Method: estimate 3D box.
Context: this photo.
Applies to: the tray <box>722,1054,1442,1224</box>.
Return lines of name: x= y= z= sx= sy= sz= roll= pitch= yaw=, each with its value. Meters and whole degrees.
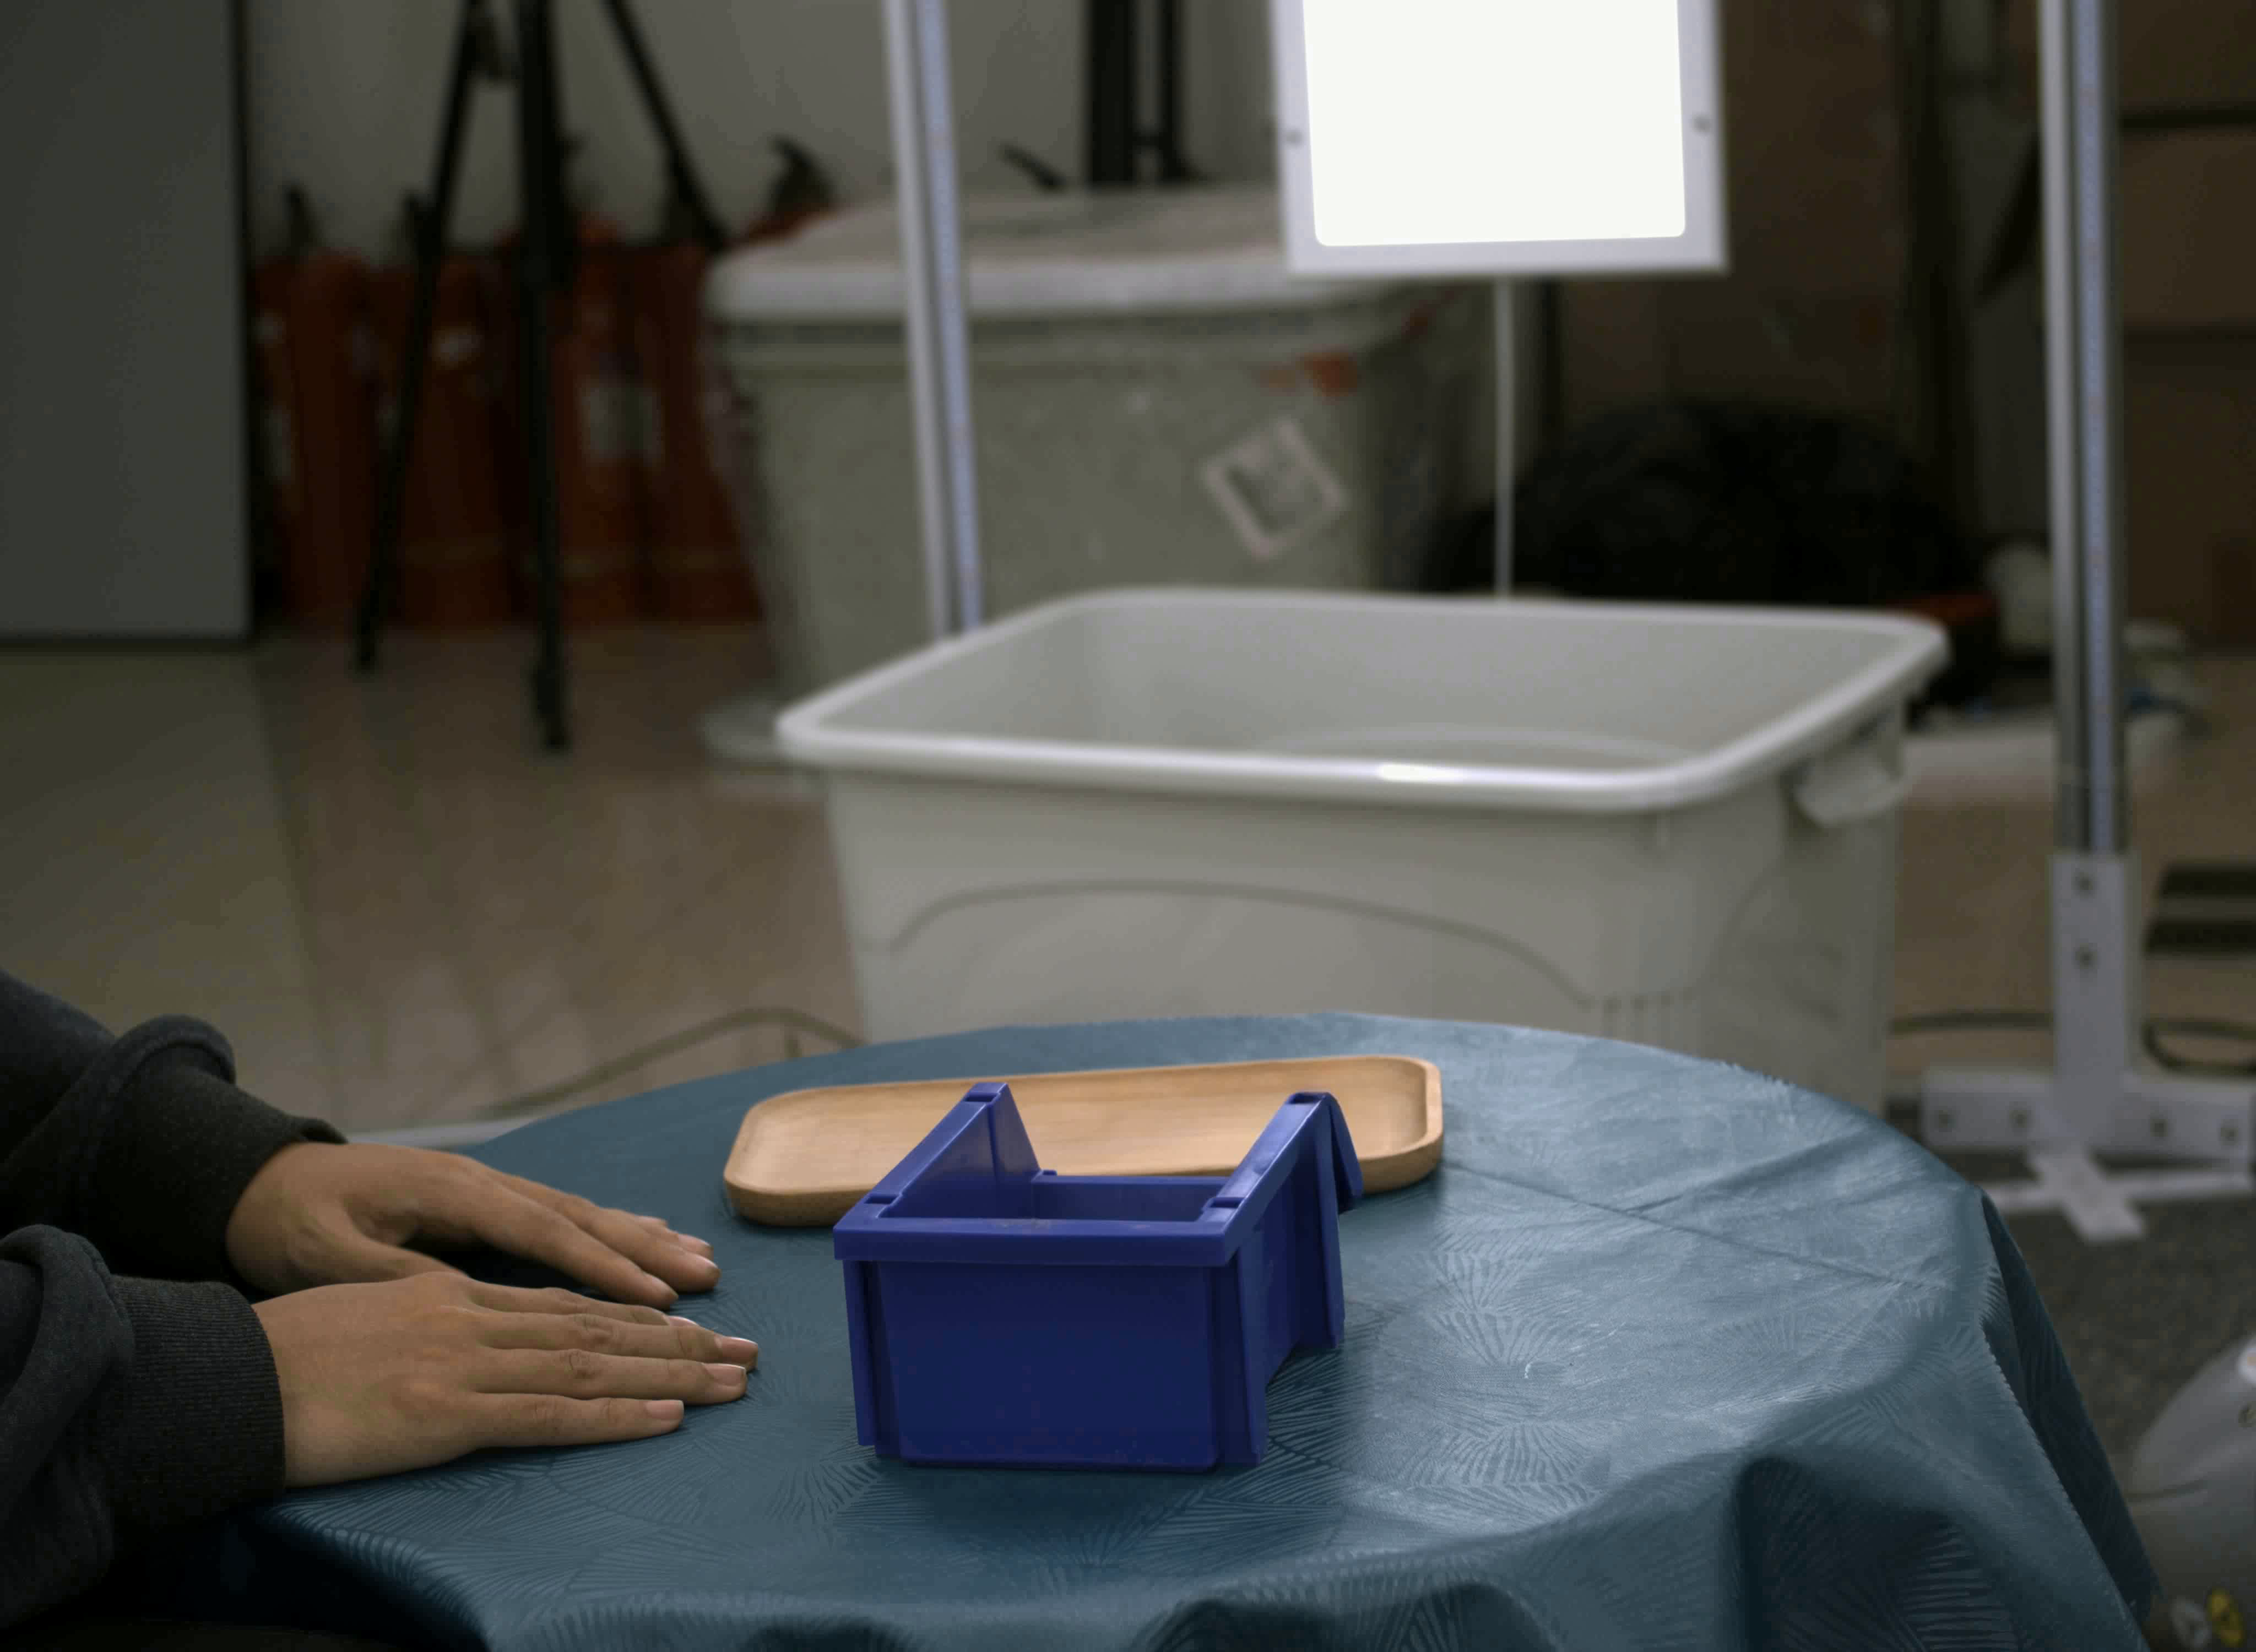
tray: x=-0.014 y=0.110 z=1.933 sx=0.251 sy=0.023 sz=0.130 roll=-4 pitch=11 yaw=6

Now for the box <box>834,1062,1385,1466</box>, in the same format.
box: x=-0.003 y=0.131 z=1.708 sx=0.126 sy=0.082 sz=0.176 roll=-1 pitch=18 yaw=19
